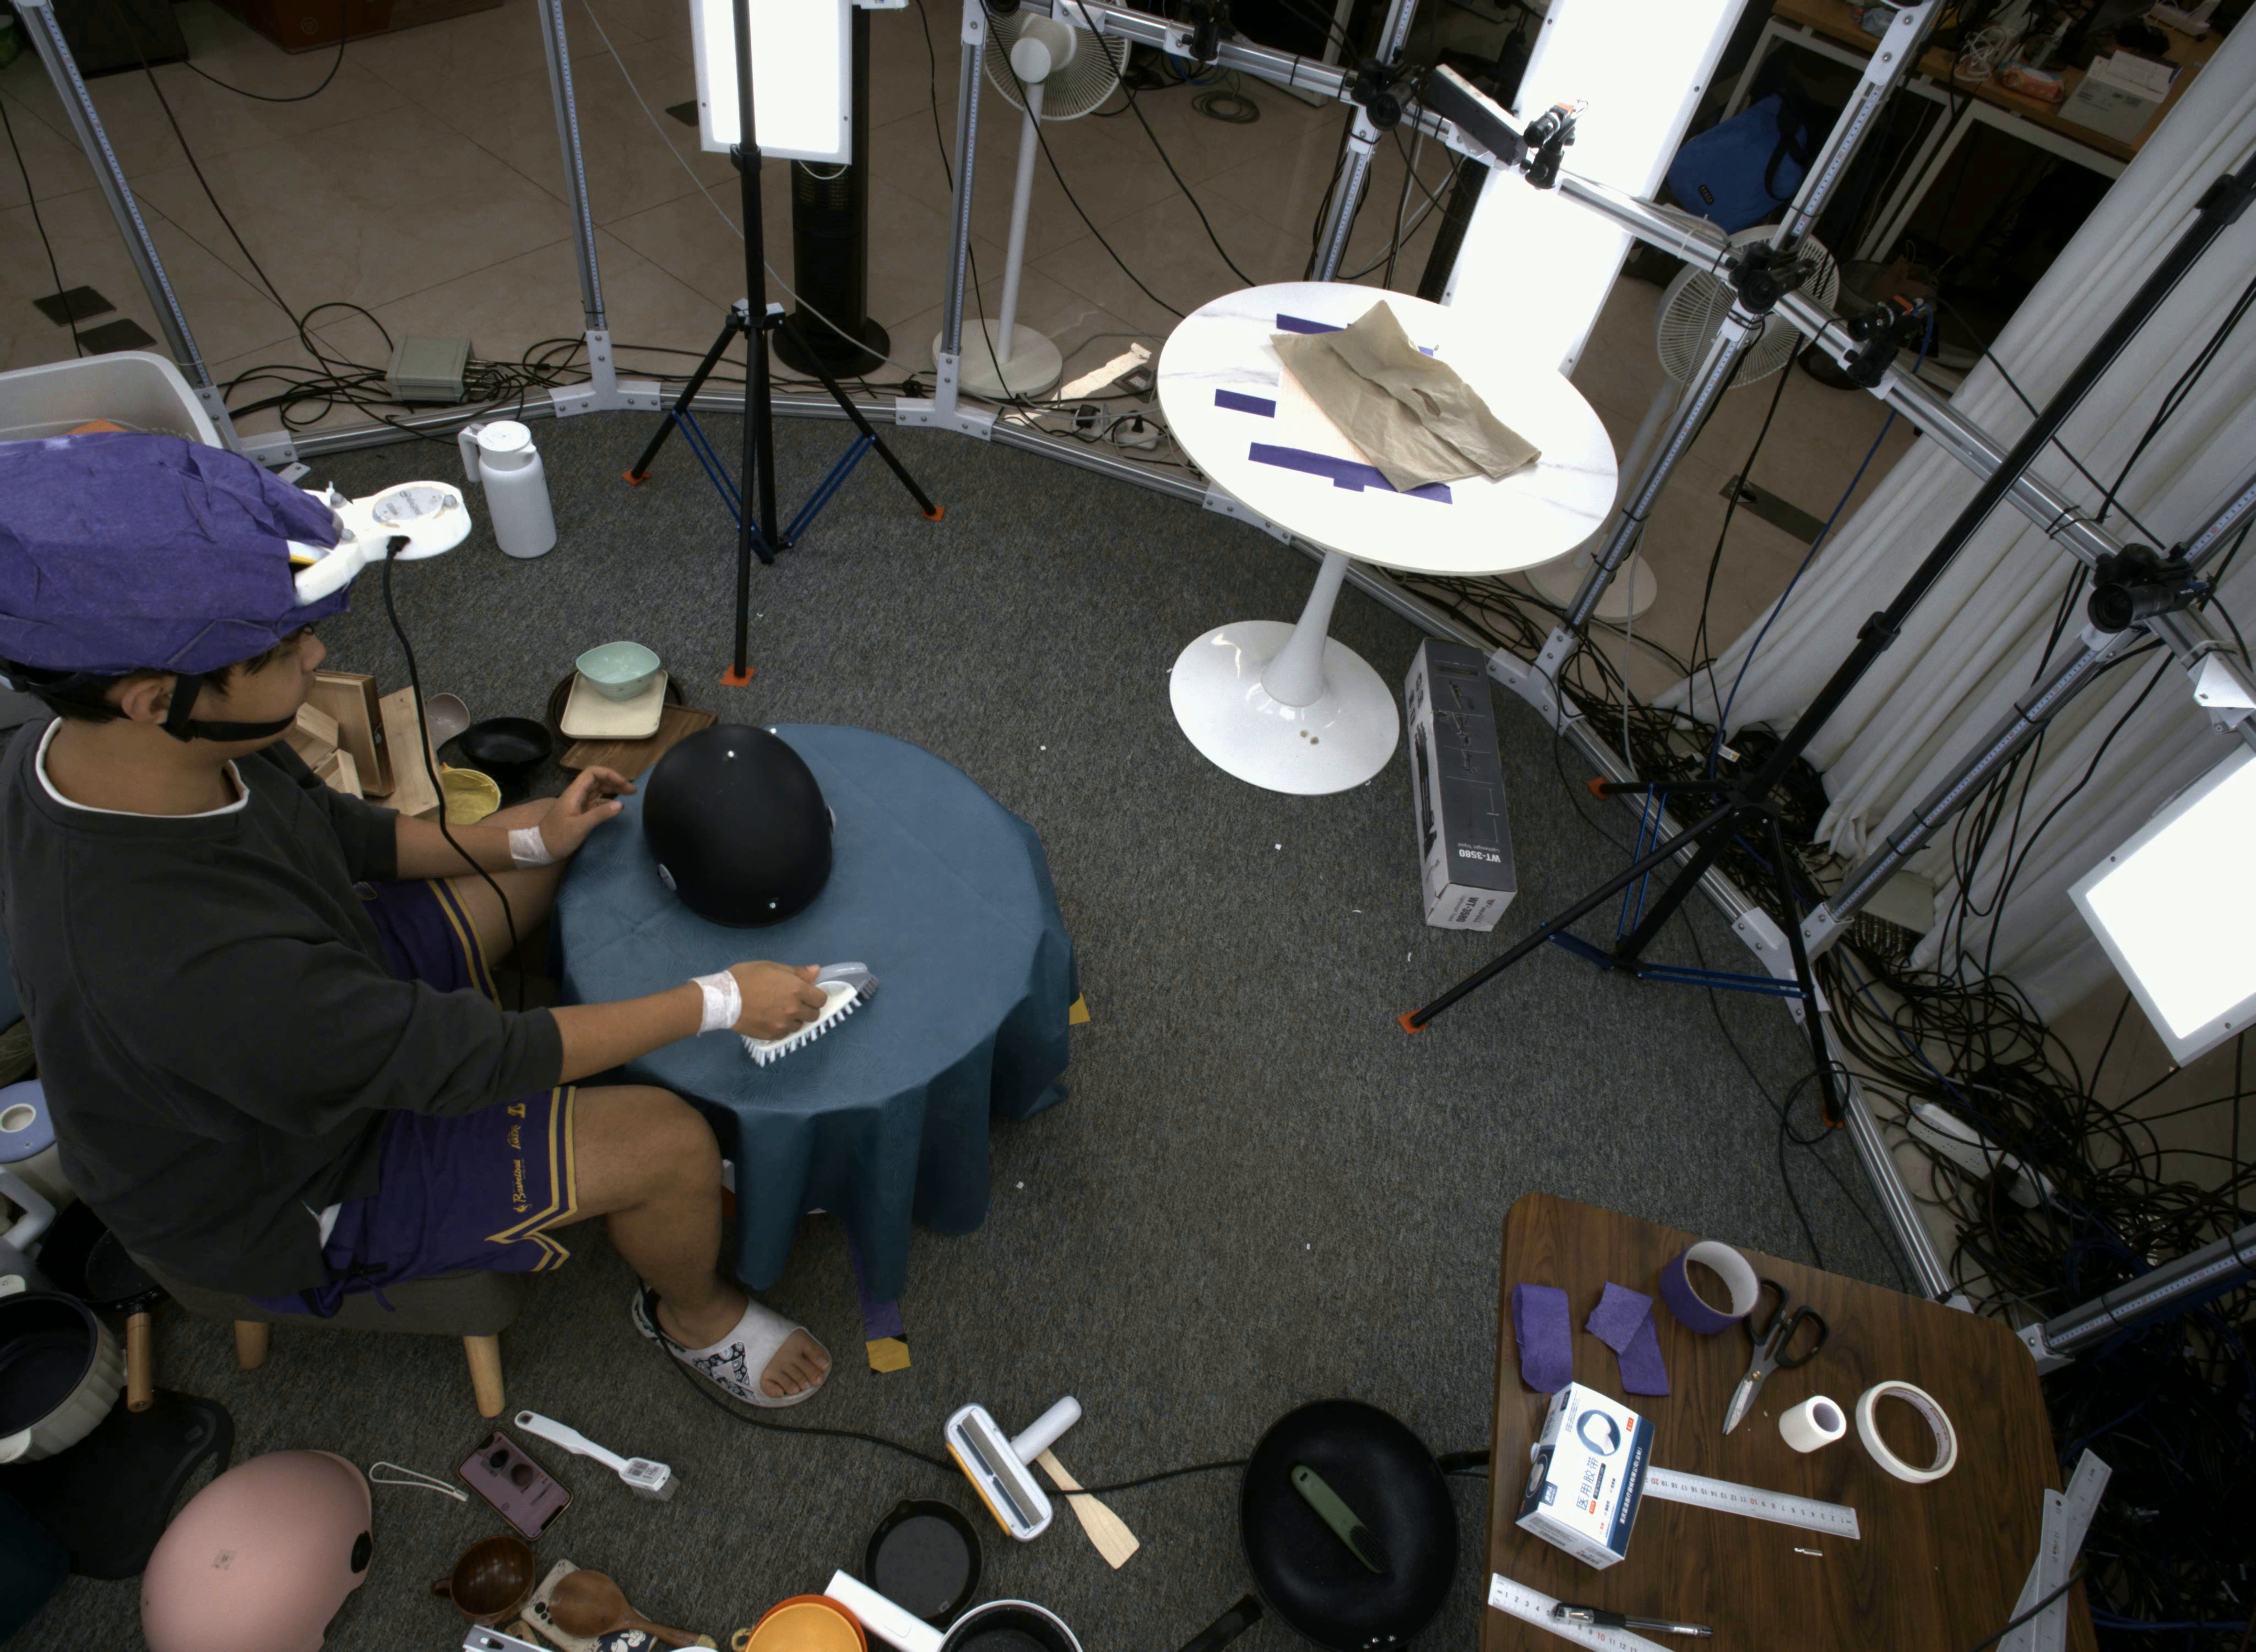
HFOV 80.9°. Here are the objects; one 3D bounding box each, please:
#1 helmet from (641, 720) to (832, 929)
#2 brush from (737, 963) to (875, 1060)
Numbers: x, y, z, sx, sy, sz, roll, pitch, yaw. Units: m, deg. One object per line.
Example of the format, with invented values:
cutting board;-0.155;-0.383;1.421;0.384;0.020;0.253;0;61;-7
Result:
helmet;-0.495;-0.024;1.626;0.231;0.170;0.267;-21;63;-26
brush;-0.376;0.198;1.533;0.176;0.096;0.060;-23;59;-30
